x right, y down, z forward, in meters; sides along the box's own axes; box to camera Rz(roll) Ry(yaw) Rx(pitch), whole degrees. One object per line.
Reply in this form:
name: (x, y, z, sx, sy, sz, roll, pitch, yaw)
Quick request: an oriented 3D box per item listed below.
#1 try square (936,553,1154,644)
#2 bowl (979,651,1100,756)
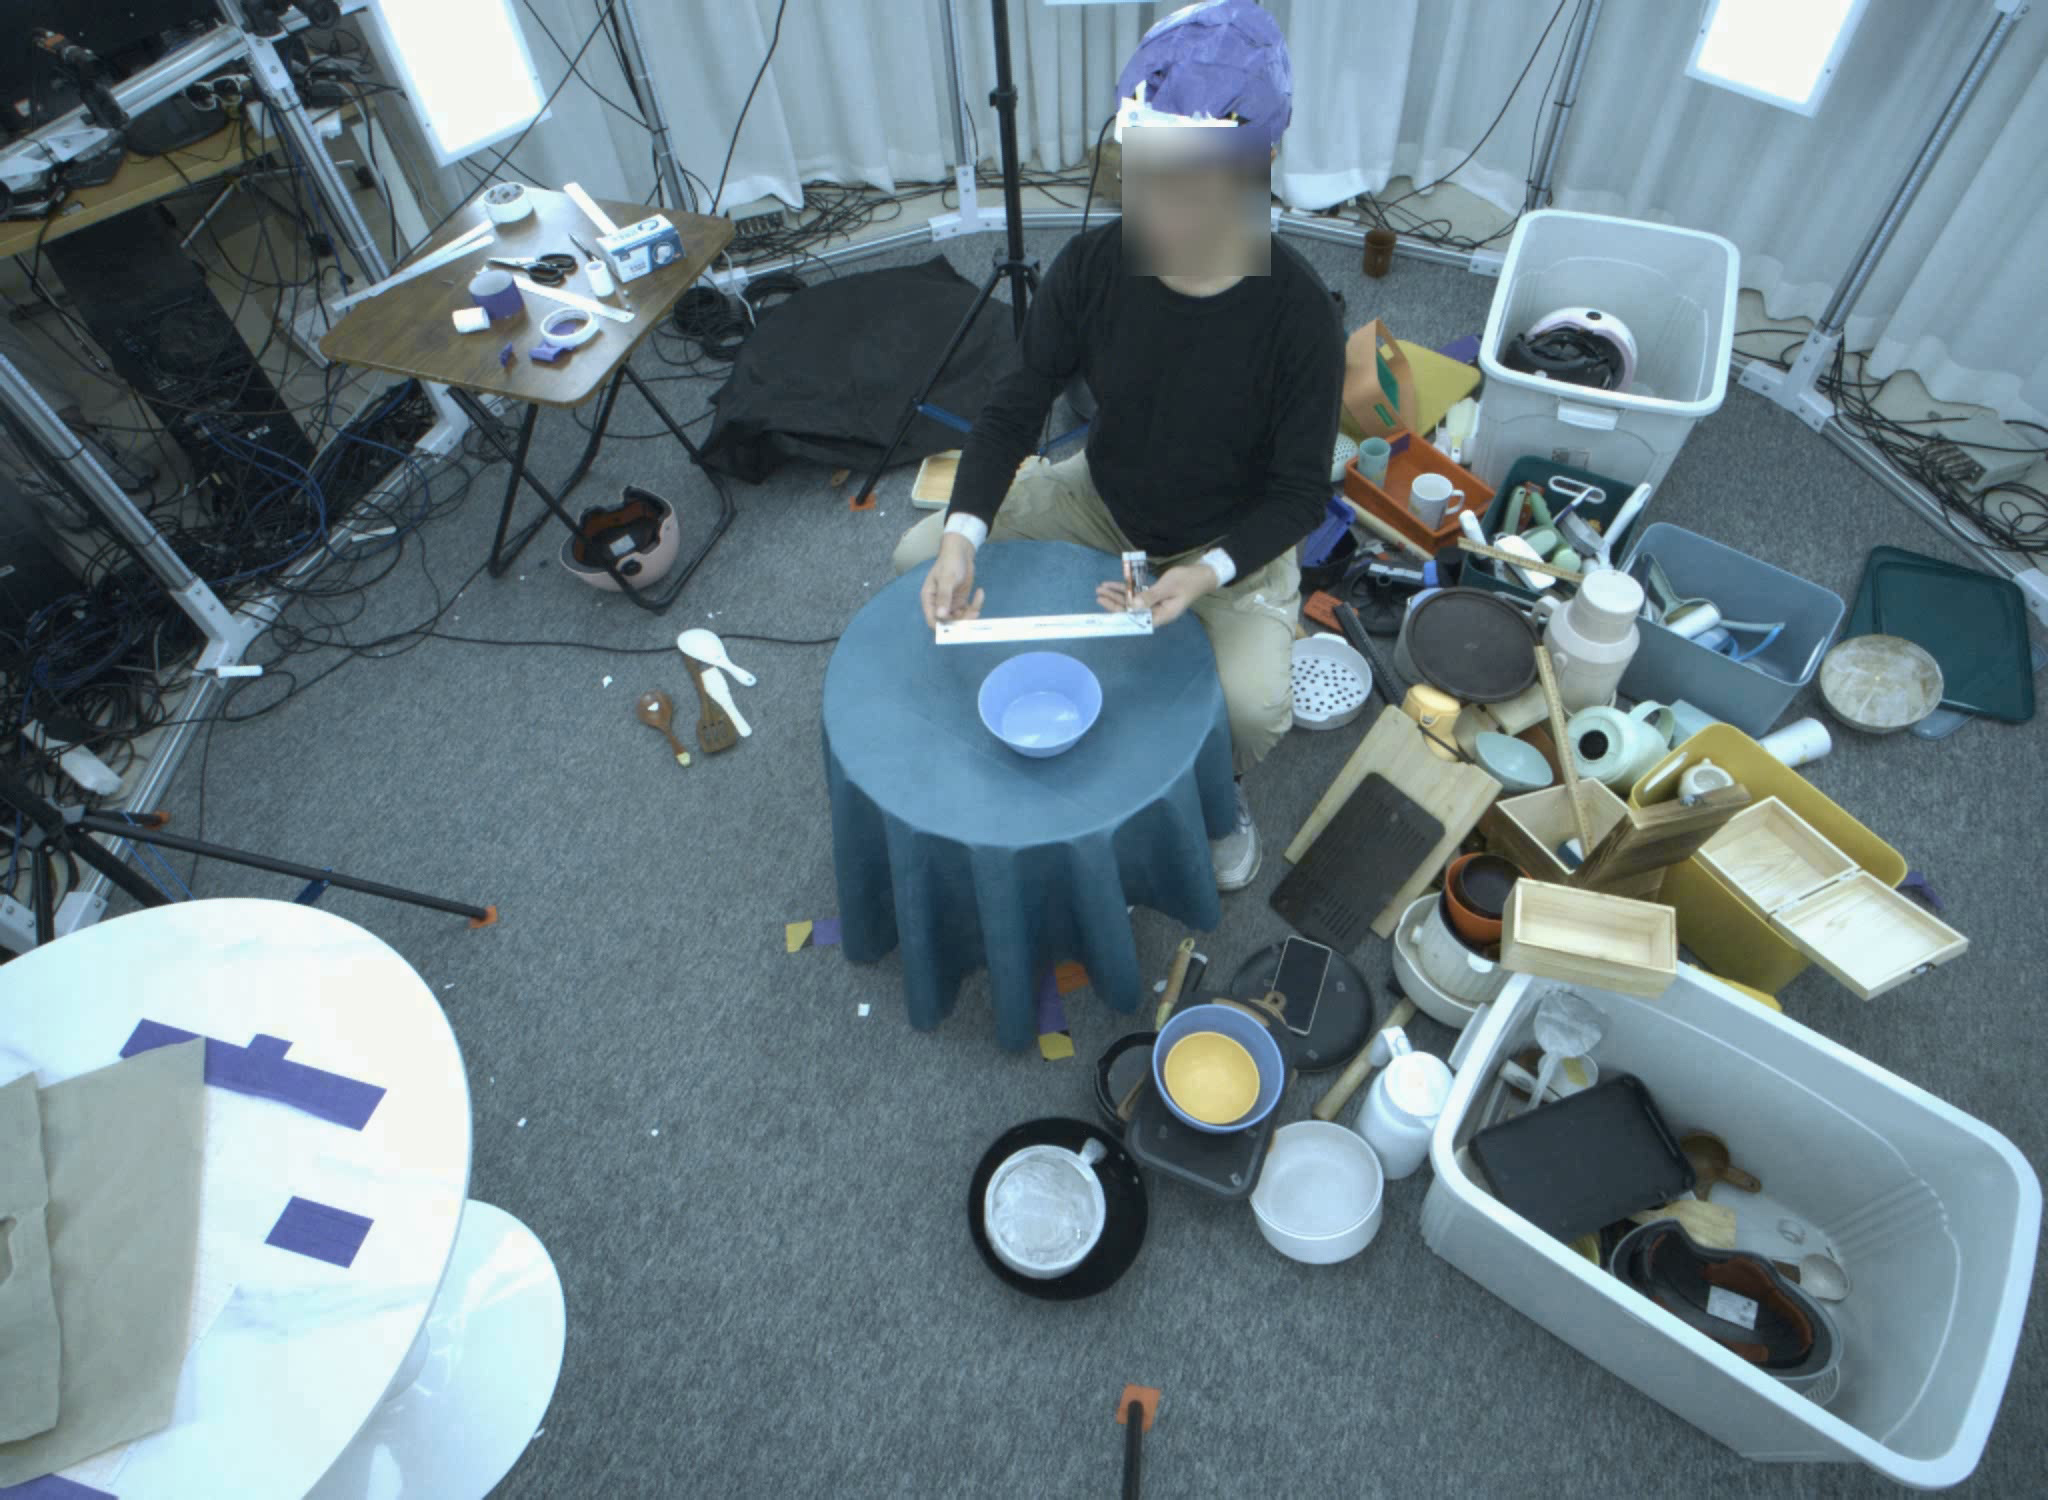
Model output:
try square: (0.029, -0.221, 1.786, 0.313, 0.016, 0.150, -3, 55, 0)
bowl: (0.024, -0.057, 1.784, 0.176, 0.071, 0.174, -1, 55, 3)
